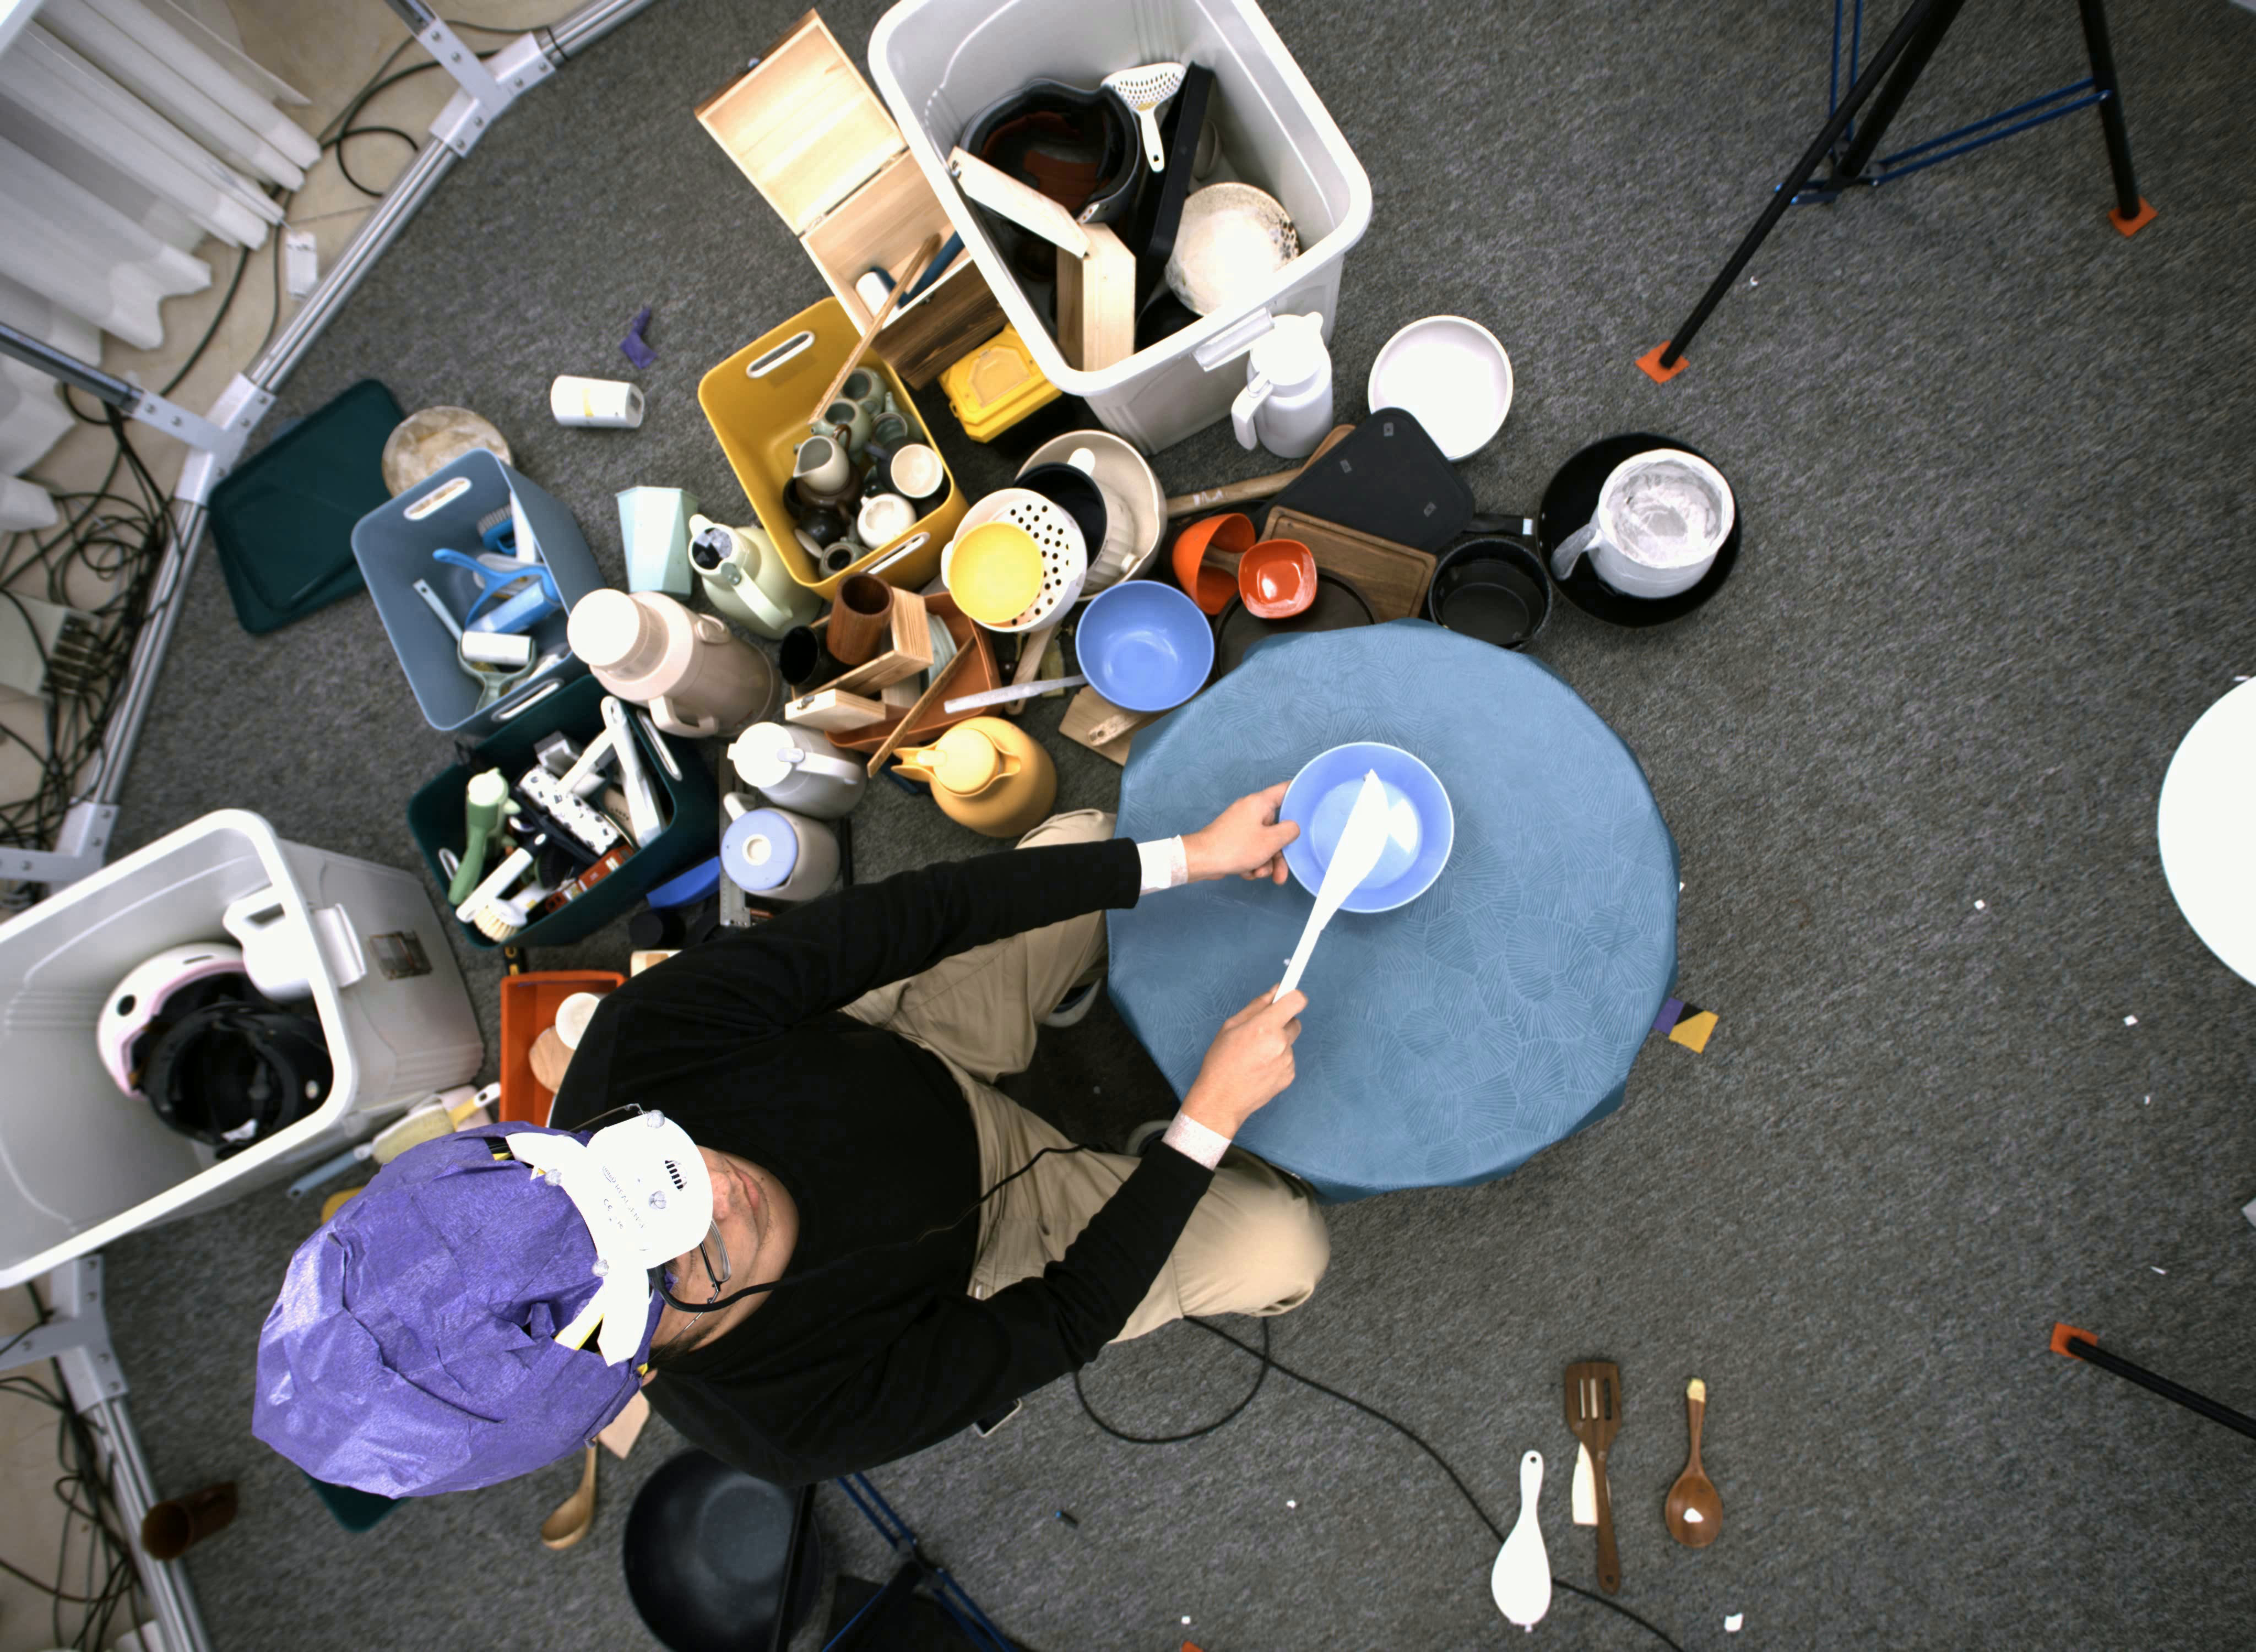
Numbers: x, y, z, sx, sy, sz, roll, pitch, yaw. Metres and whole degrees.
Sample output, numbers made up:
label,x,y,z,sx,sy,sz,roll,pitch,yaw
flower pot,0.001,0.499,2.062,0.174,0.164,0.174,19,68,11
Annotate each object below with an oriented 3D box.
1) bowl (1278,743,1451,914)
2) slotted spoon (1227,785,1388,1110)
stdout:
label,x,y,z,sx,sy,sz,roll,pitch,yaw
bowl,0.245,0.004,1.433,0.177,0.070,0.175,-1,86,12
slotted spoon,0.171,0.123,1.347,0.046,0.134,0.354,29,105,5
